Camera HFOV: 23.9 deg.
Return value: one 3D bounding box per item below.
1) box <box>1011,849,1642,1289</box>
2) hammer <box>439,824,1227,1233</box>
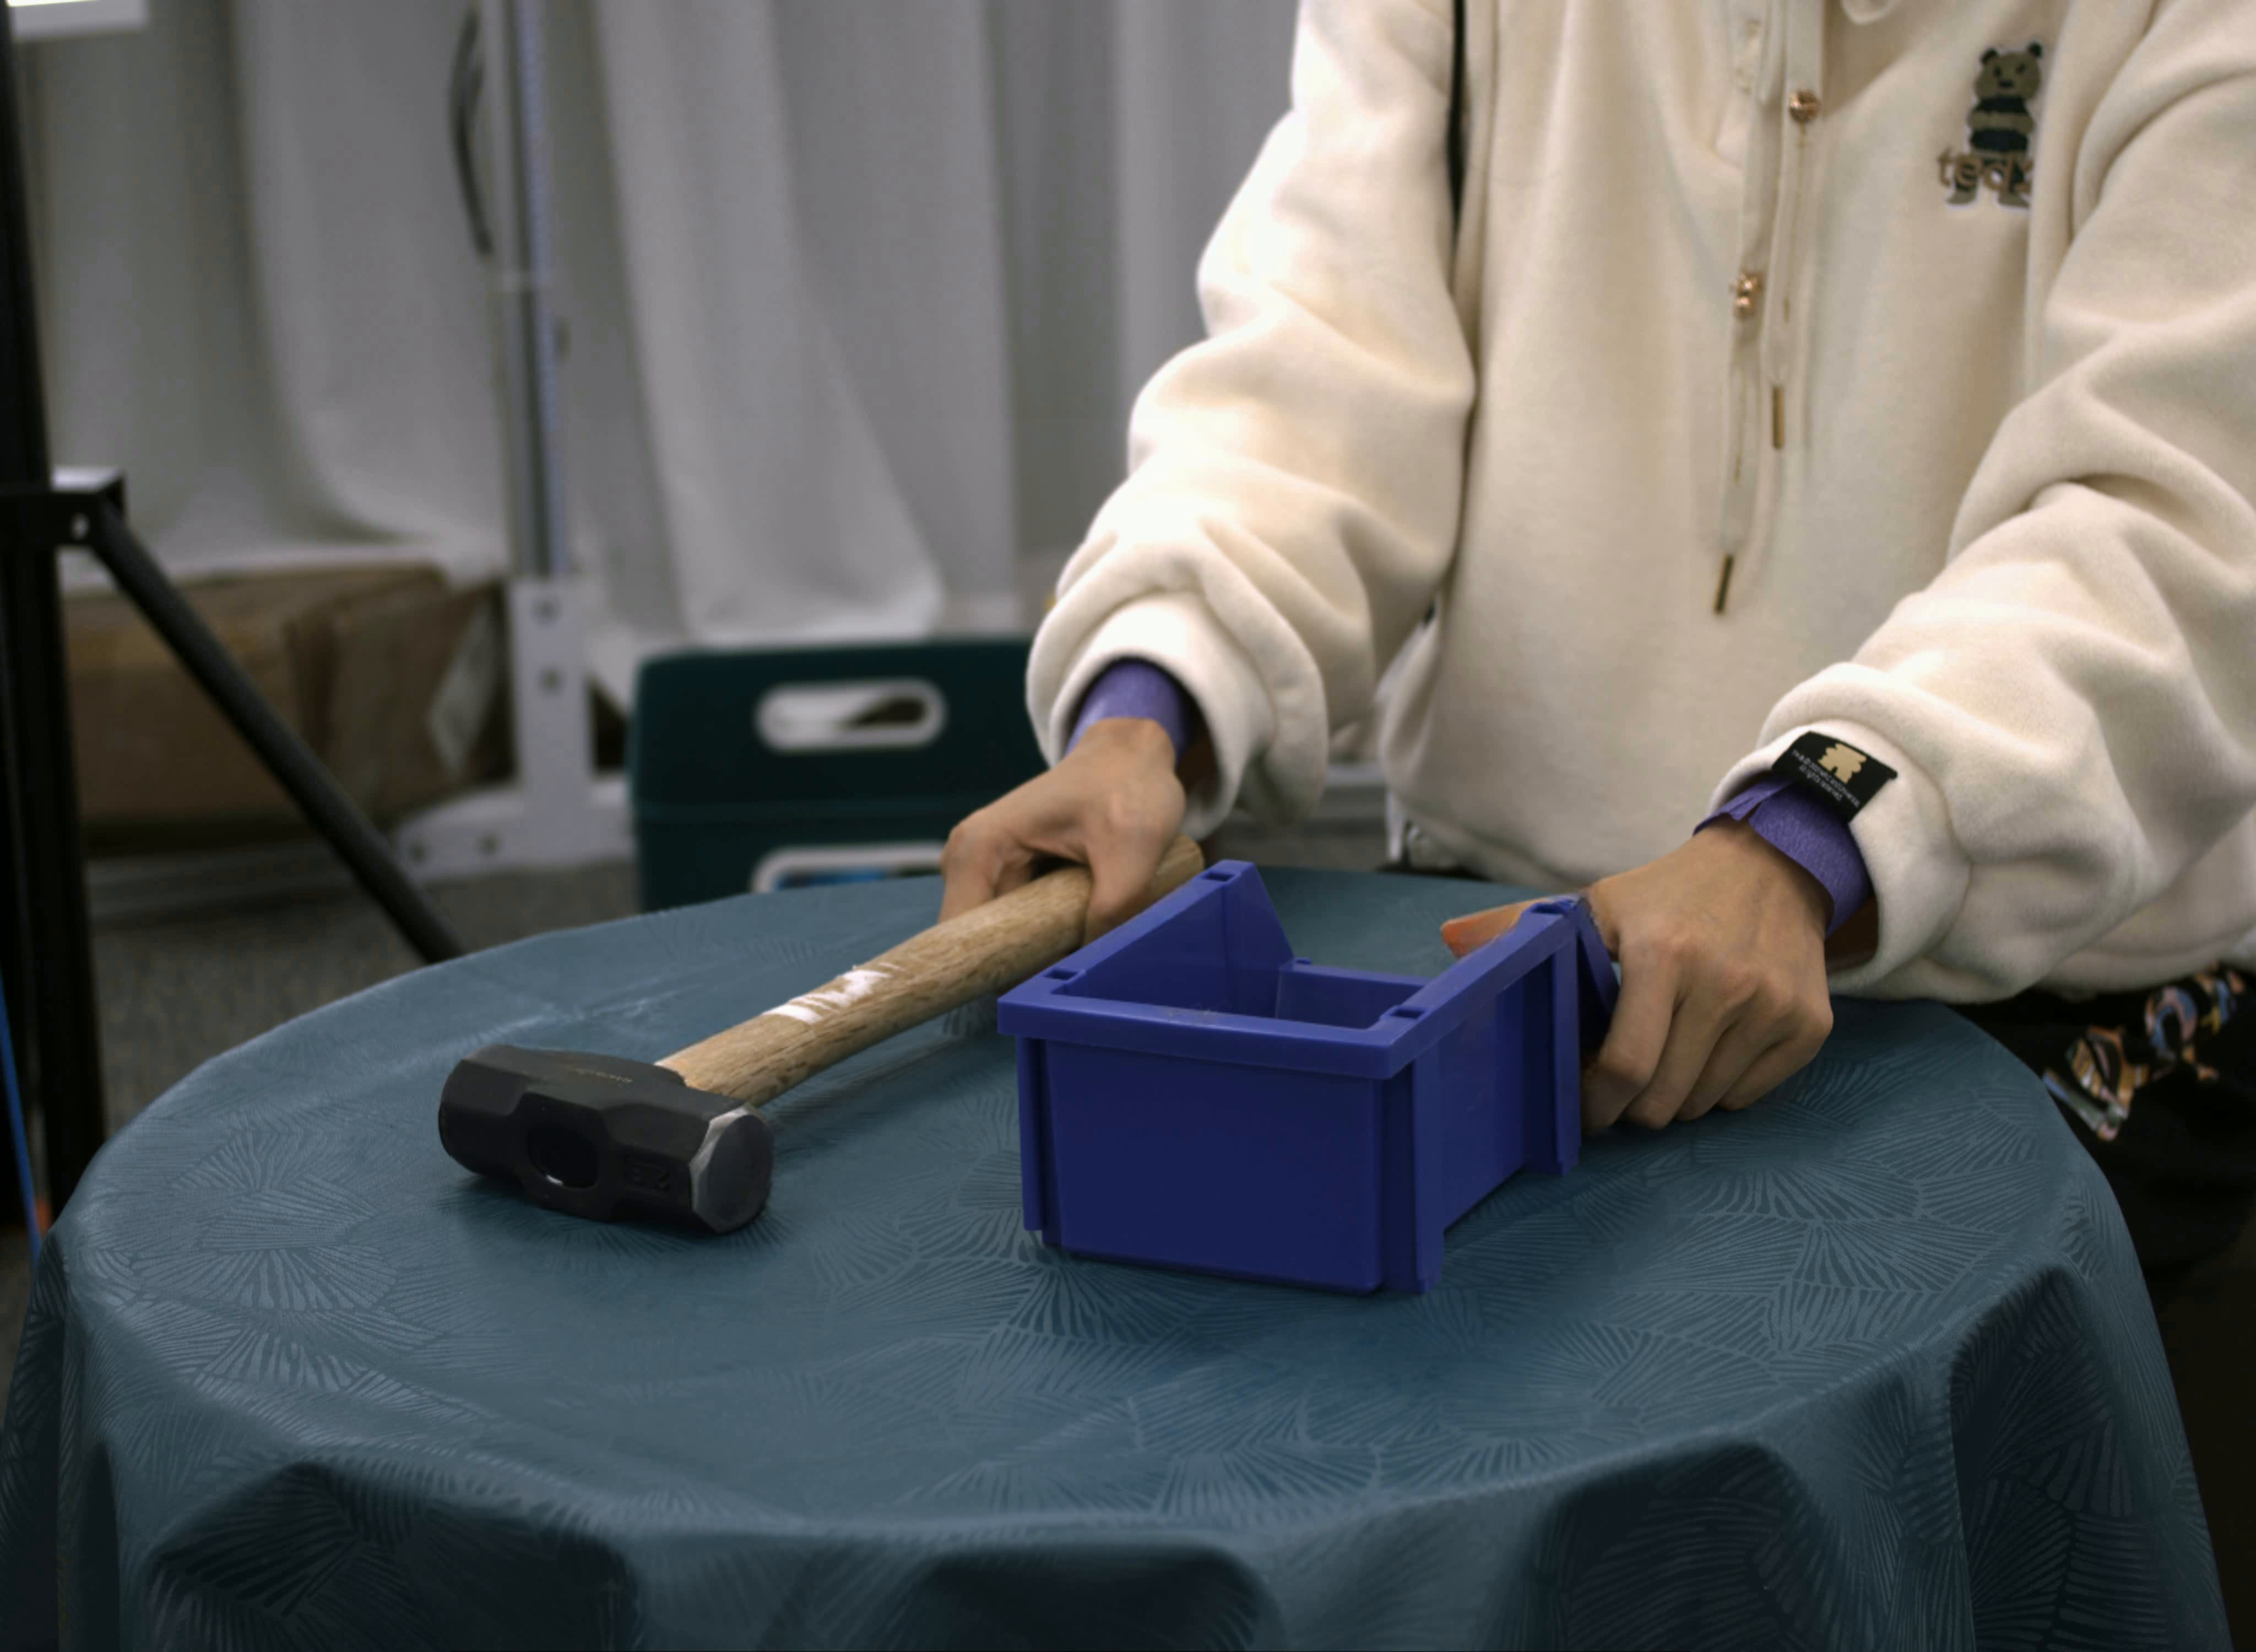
[{"bbox_3d":[0.060,0.066,1.548,0.126,0.082,0.176,5,20,28],"label":"box"},{"bbox_3d":[-0.073,0.054,1.665,0.109,0.038,0.299,11,23,38],"label":"hammer"}]
